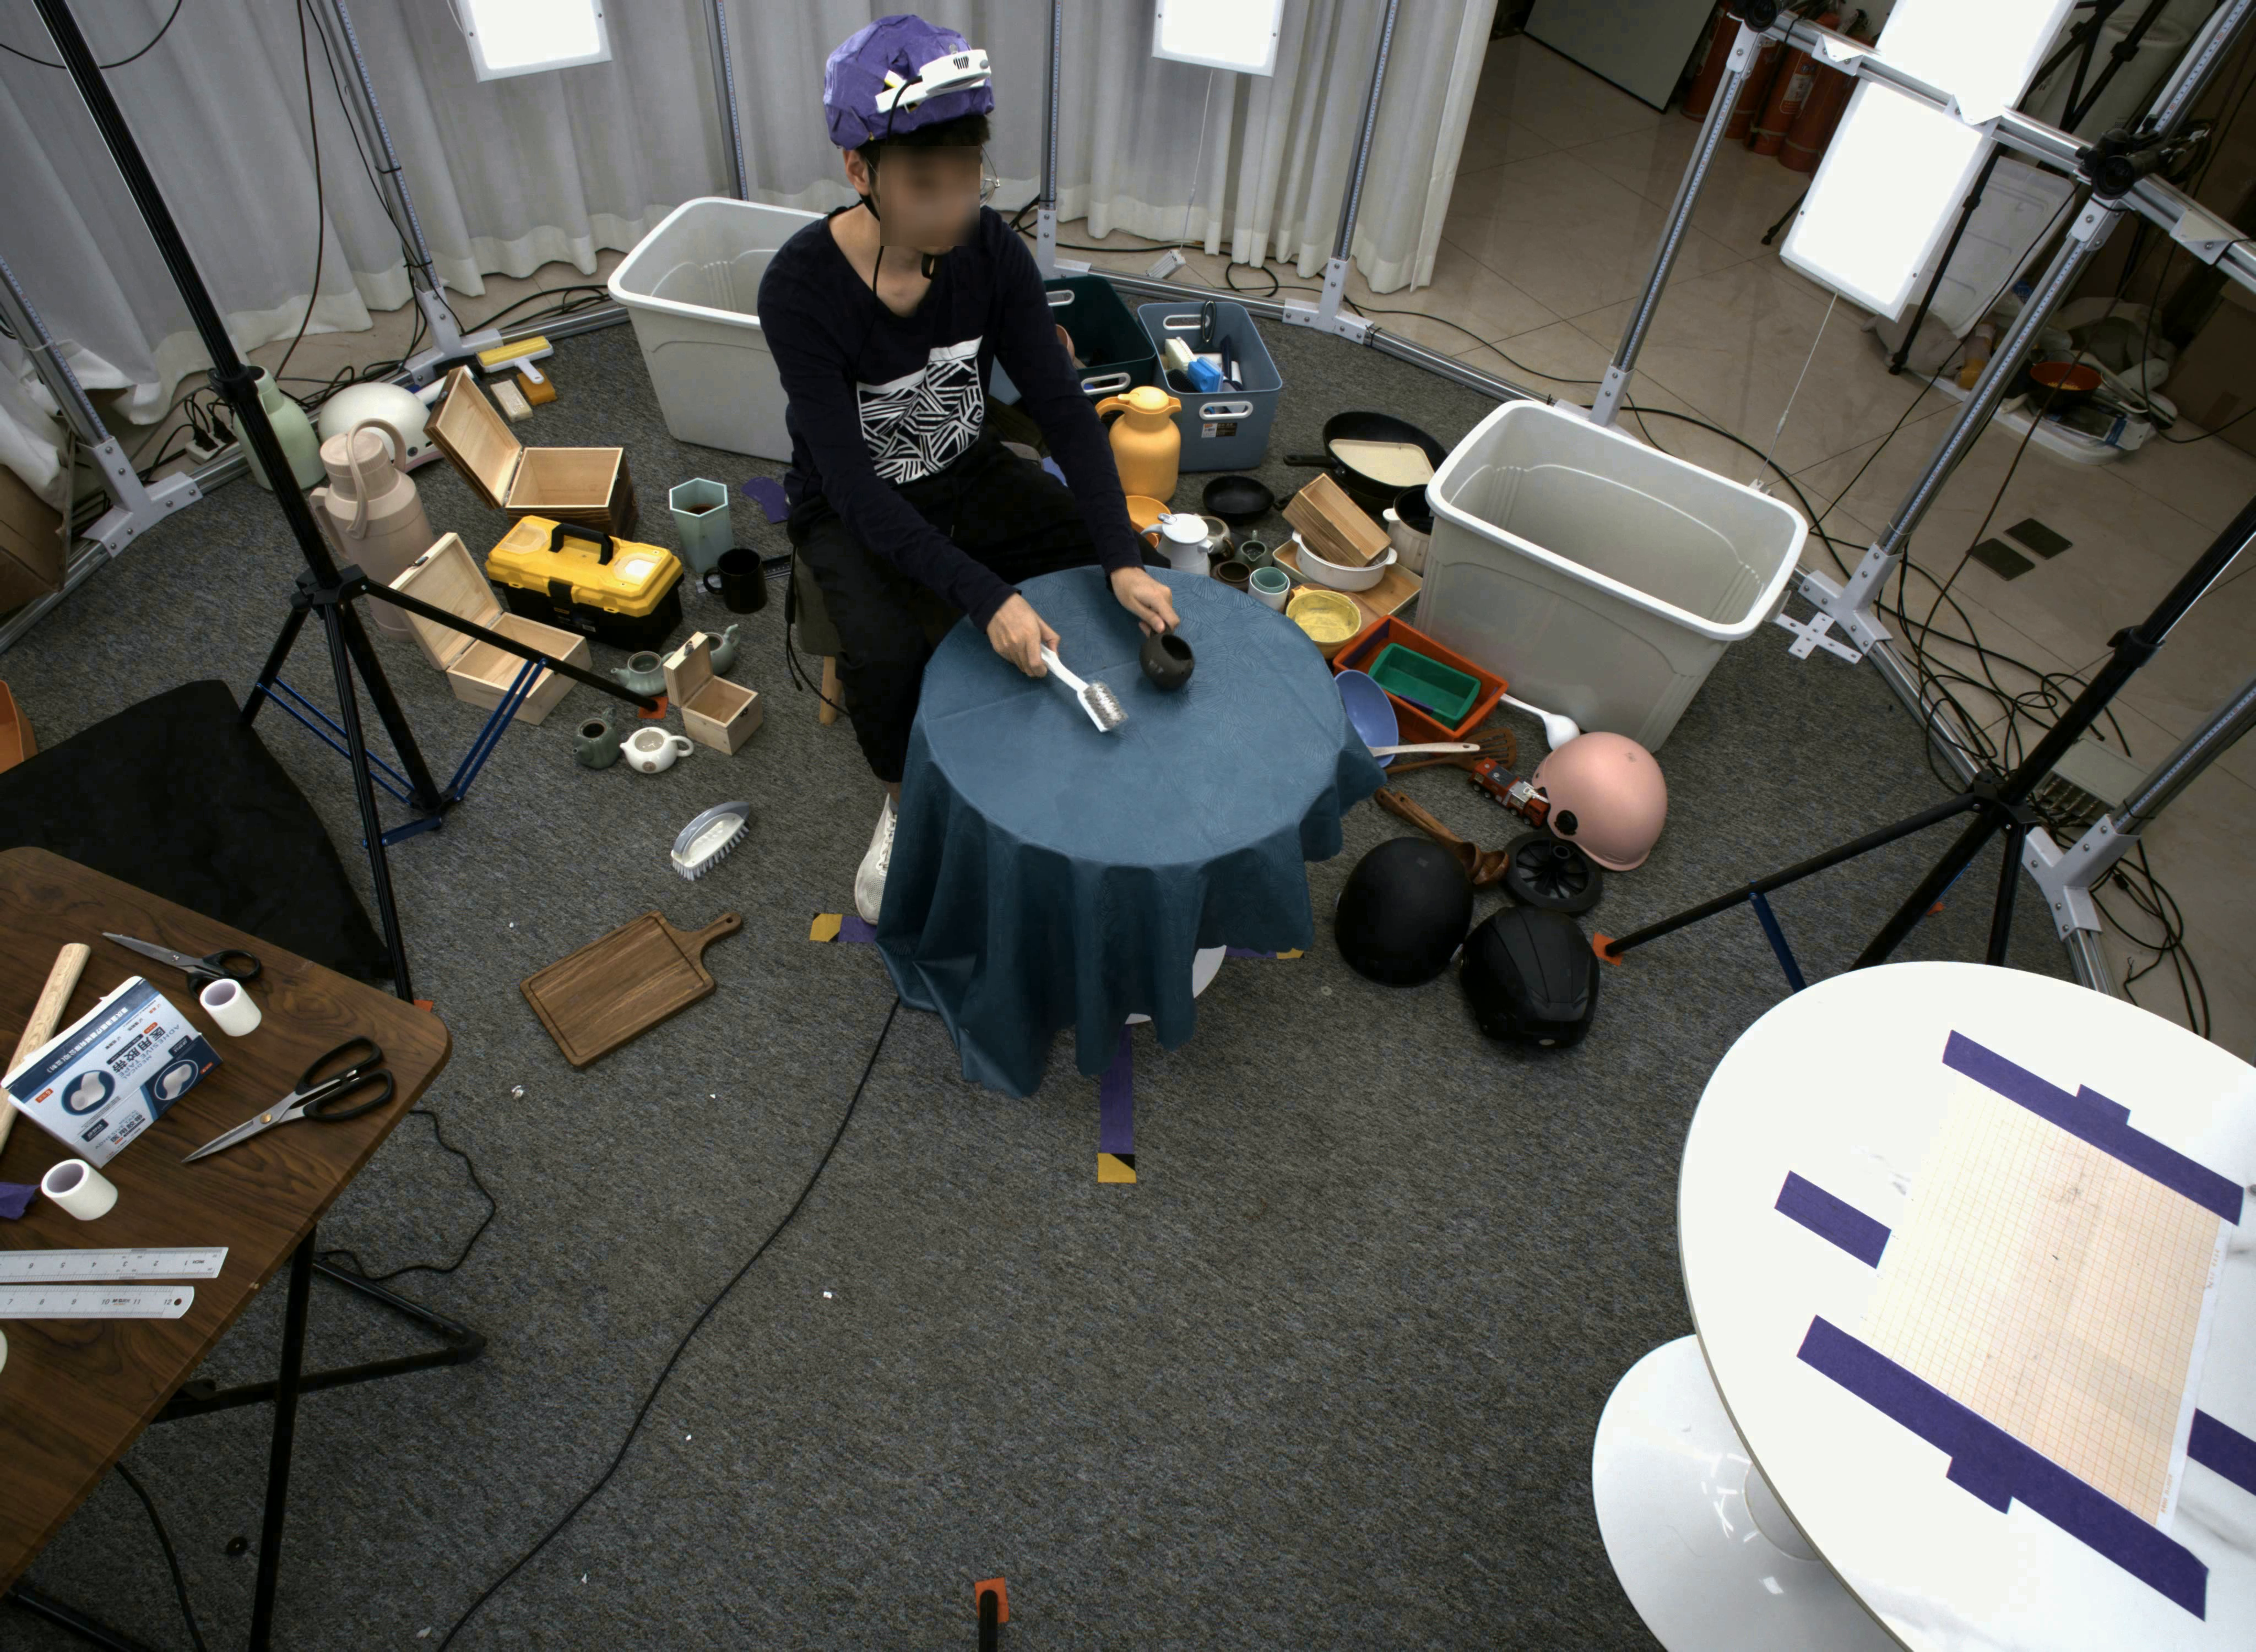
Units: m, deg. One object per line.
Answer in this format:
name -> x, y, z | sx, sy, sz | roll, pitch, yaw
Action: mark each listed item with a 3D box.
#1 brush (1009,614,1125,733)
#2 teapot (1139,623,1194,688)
brush -> -0.089, -0.225, 1.800 | 0.034, 0.049, 0.247 | -29, 67, -25
teapot -> 0.053, -0.246, 1.838 | 0.082, 0.052, 0.117 | 7, 49, -29
